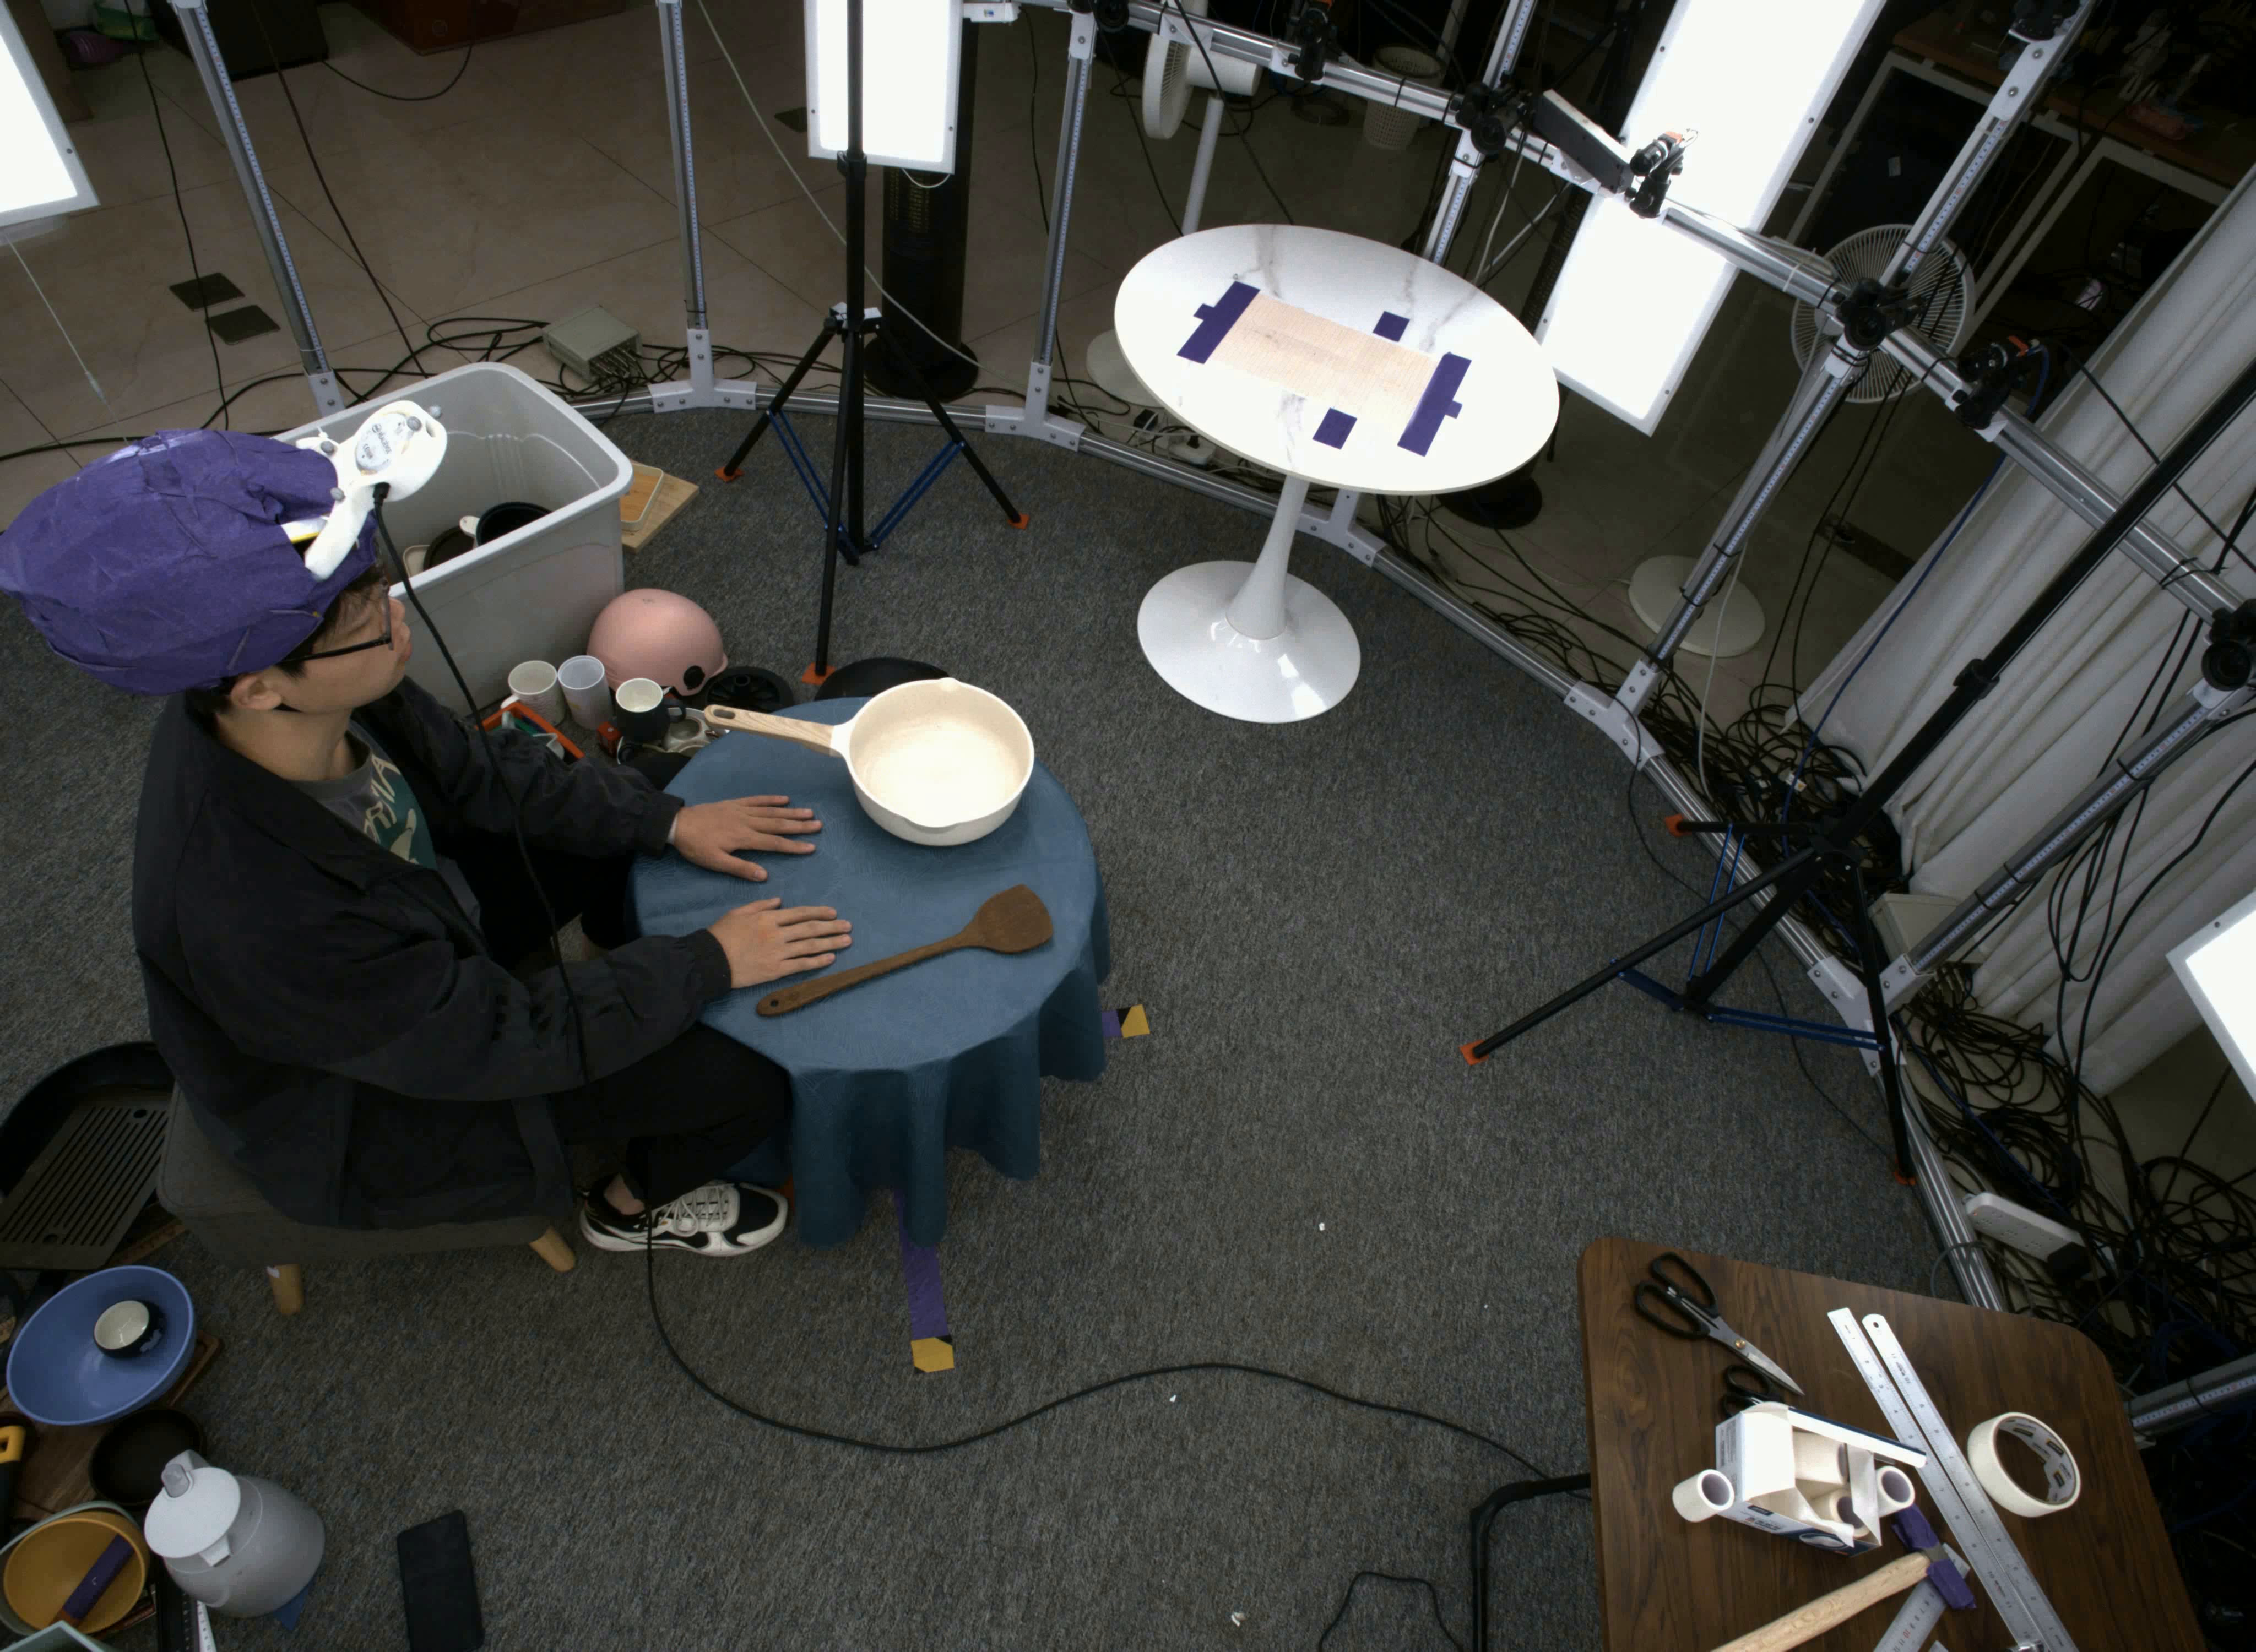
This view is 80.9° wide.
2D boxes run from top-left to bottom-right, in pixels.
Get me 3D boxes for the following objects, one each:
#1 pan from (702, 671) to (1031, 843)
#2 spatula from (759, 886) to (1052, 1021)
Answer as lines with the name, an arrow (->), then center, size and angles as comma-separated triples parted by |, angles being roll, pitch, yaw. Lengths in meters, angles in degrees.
pan -> -0.348, -0.100, 1.752 | 0.434, 0.104, 0.259 | 6, 55, -10
spatula -> -0.276, 0.166, 1.630 | 0.388, 0.016, 0.093 | -19, 60, -25
